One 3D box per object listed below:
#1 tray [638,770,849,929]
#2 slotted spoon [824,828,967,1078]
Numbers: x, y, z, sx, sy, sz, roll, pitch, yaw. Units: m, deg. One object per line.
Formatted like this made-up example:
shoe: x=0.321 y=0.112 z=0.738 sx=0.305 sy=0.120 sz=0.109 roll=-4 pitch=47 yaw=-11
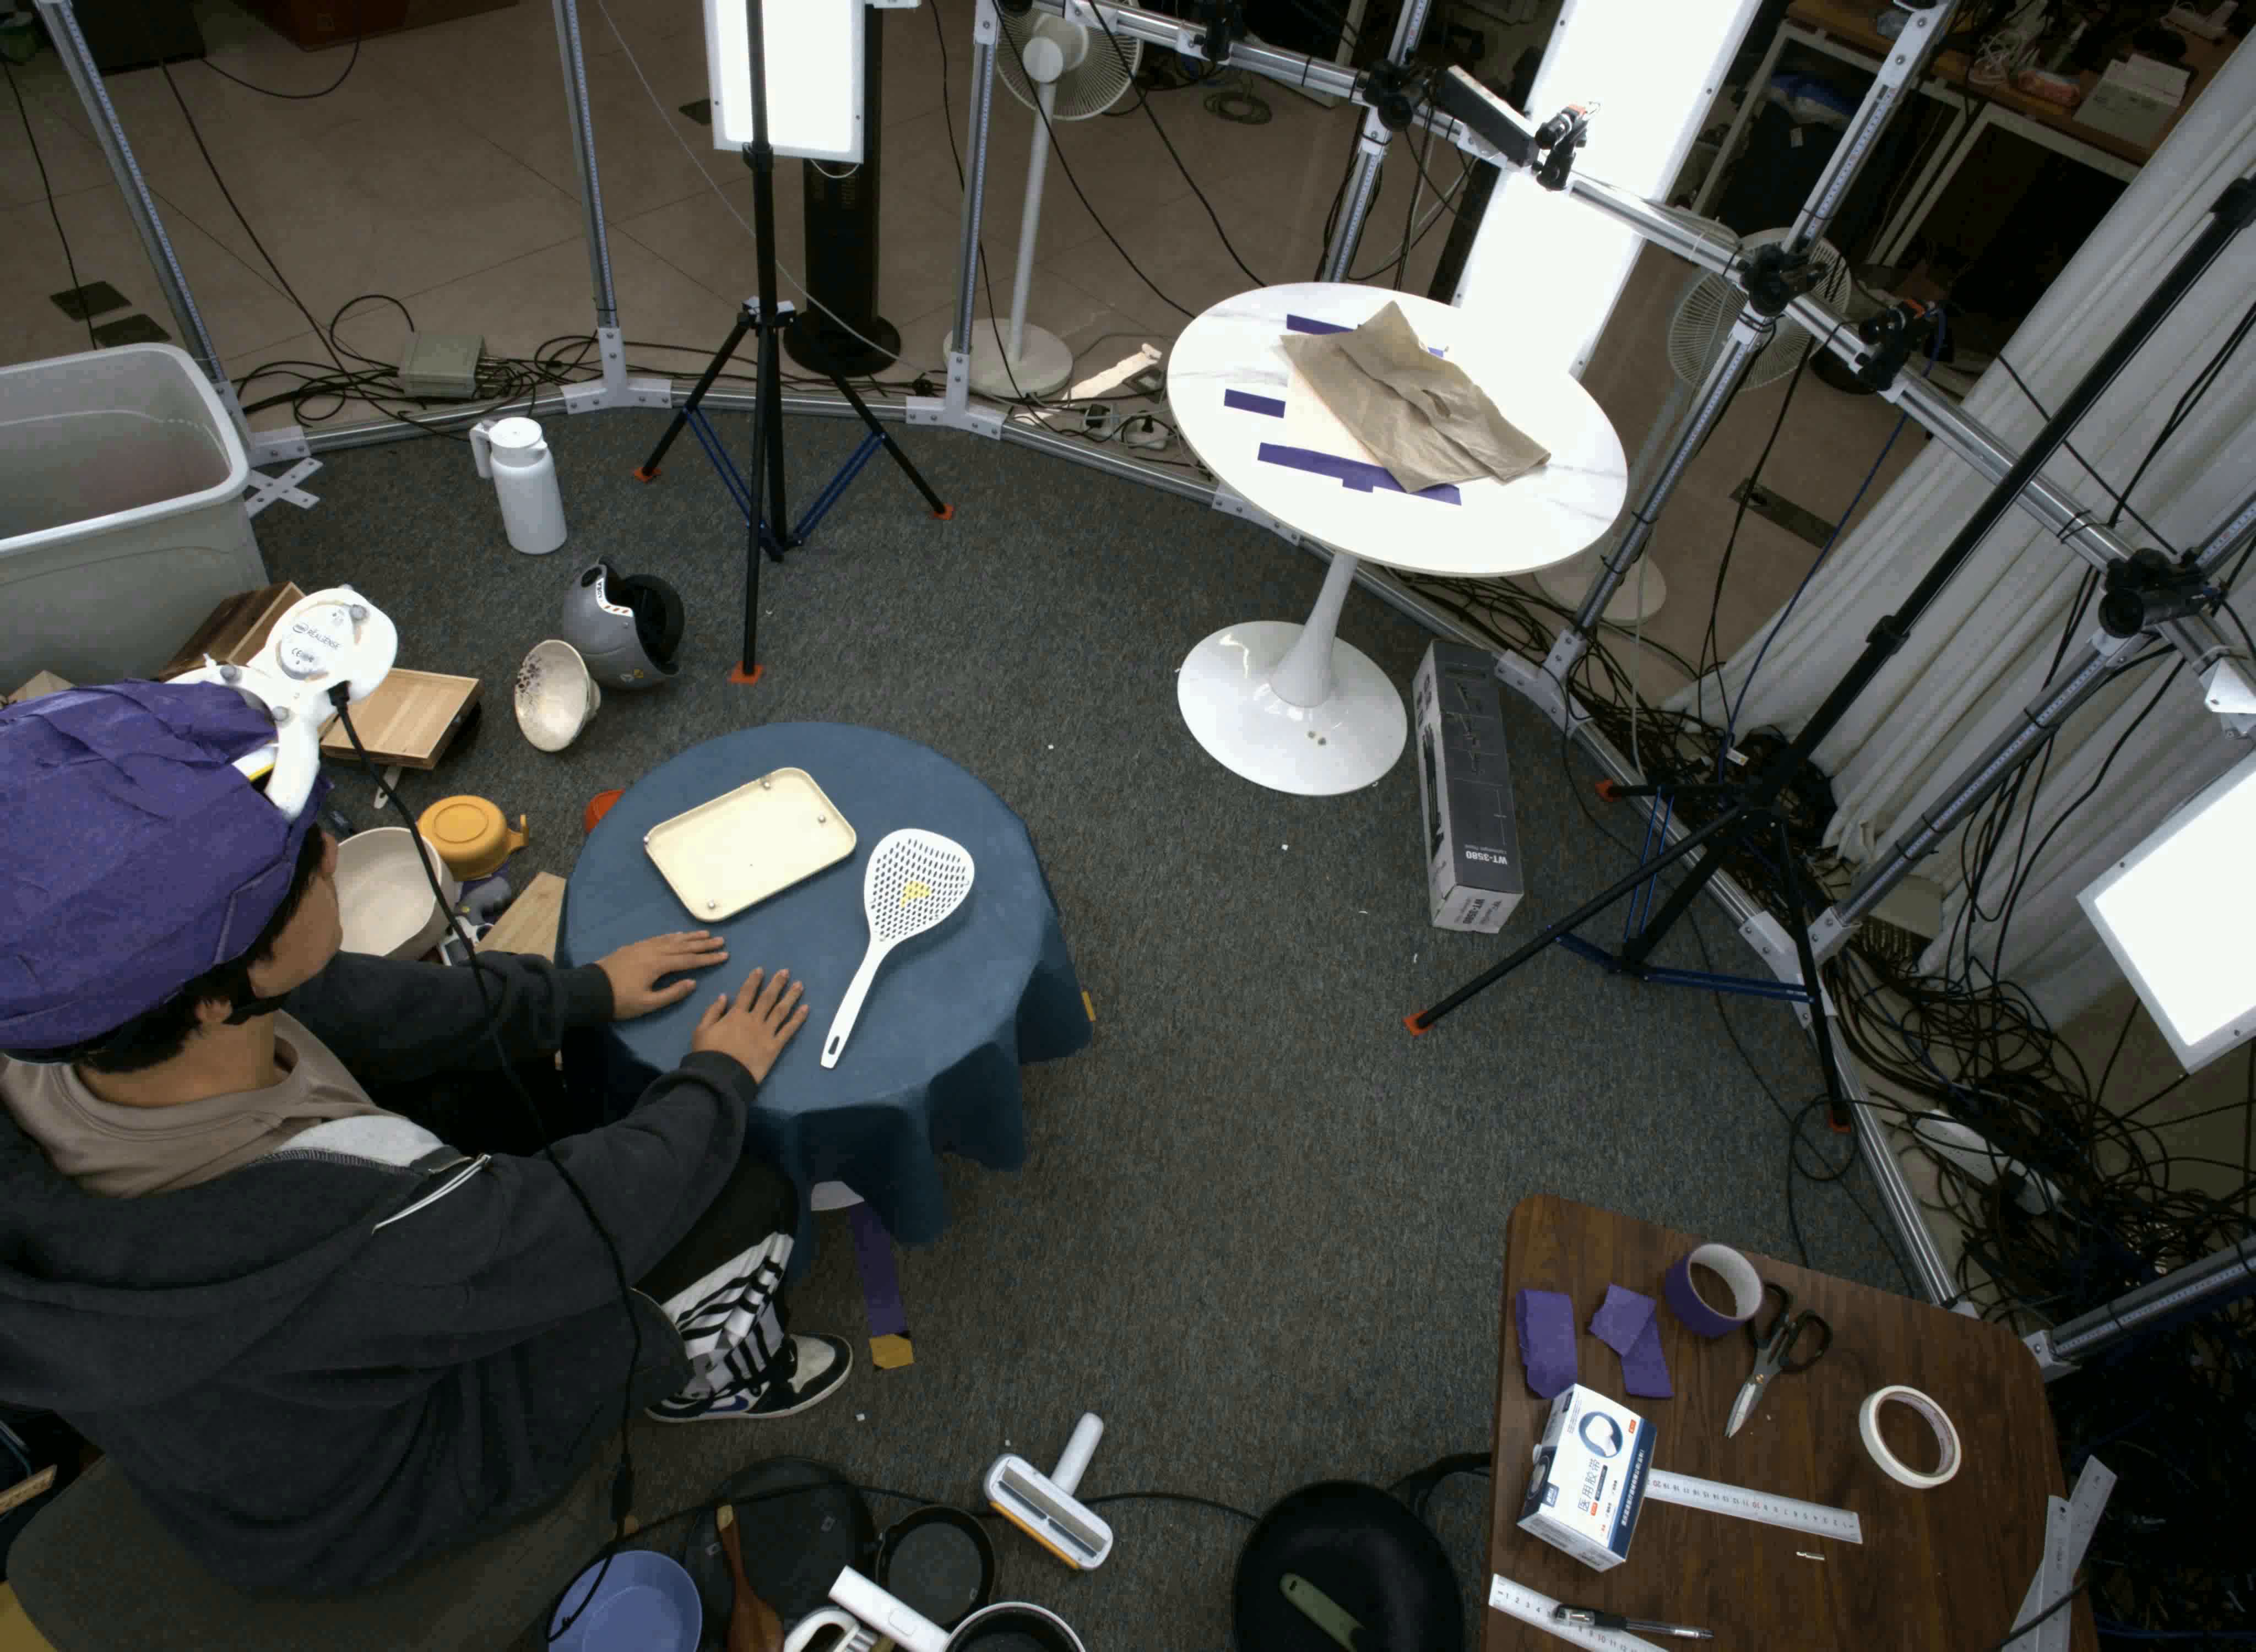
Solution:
tray: x=-0.498 y=0.027 z=1.678 sx=0.240 sy=0.018 sz=0.167 roll=-30 pitch=67 yaw=-31
slotted spoon: x=-0.310 y=0.150 z=1.620 sx=0.136 sy=0.051 sz=0.344 roll=22 pitch=52 yaw=-2
